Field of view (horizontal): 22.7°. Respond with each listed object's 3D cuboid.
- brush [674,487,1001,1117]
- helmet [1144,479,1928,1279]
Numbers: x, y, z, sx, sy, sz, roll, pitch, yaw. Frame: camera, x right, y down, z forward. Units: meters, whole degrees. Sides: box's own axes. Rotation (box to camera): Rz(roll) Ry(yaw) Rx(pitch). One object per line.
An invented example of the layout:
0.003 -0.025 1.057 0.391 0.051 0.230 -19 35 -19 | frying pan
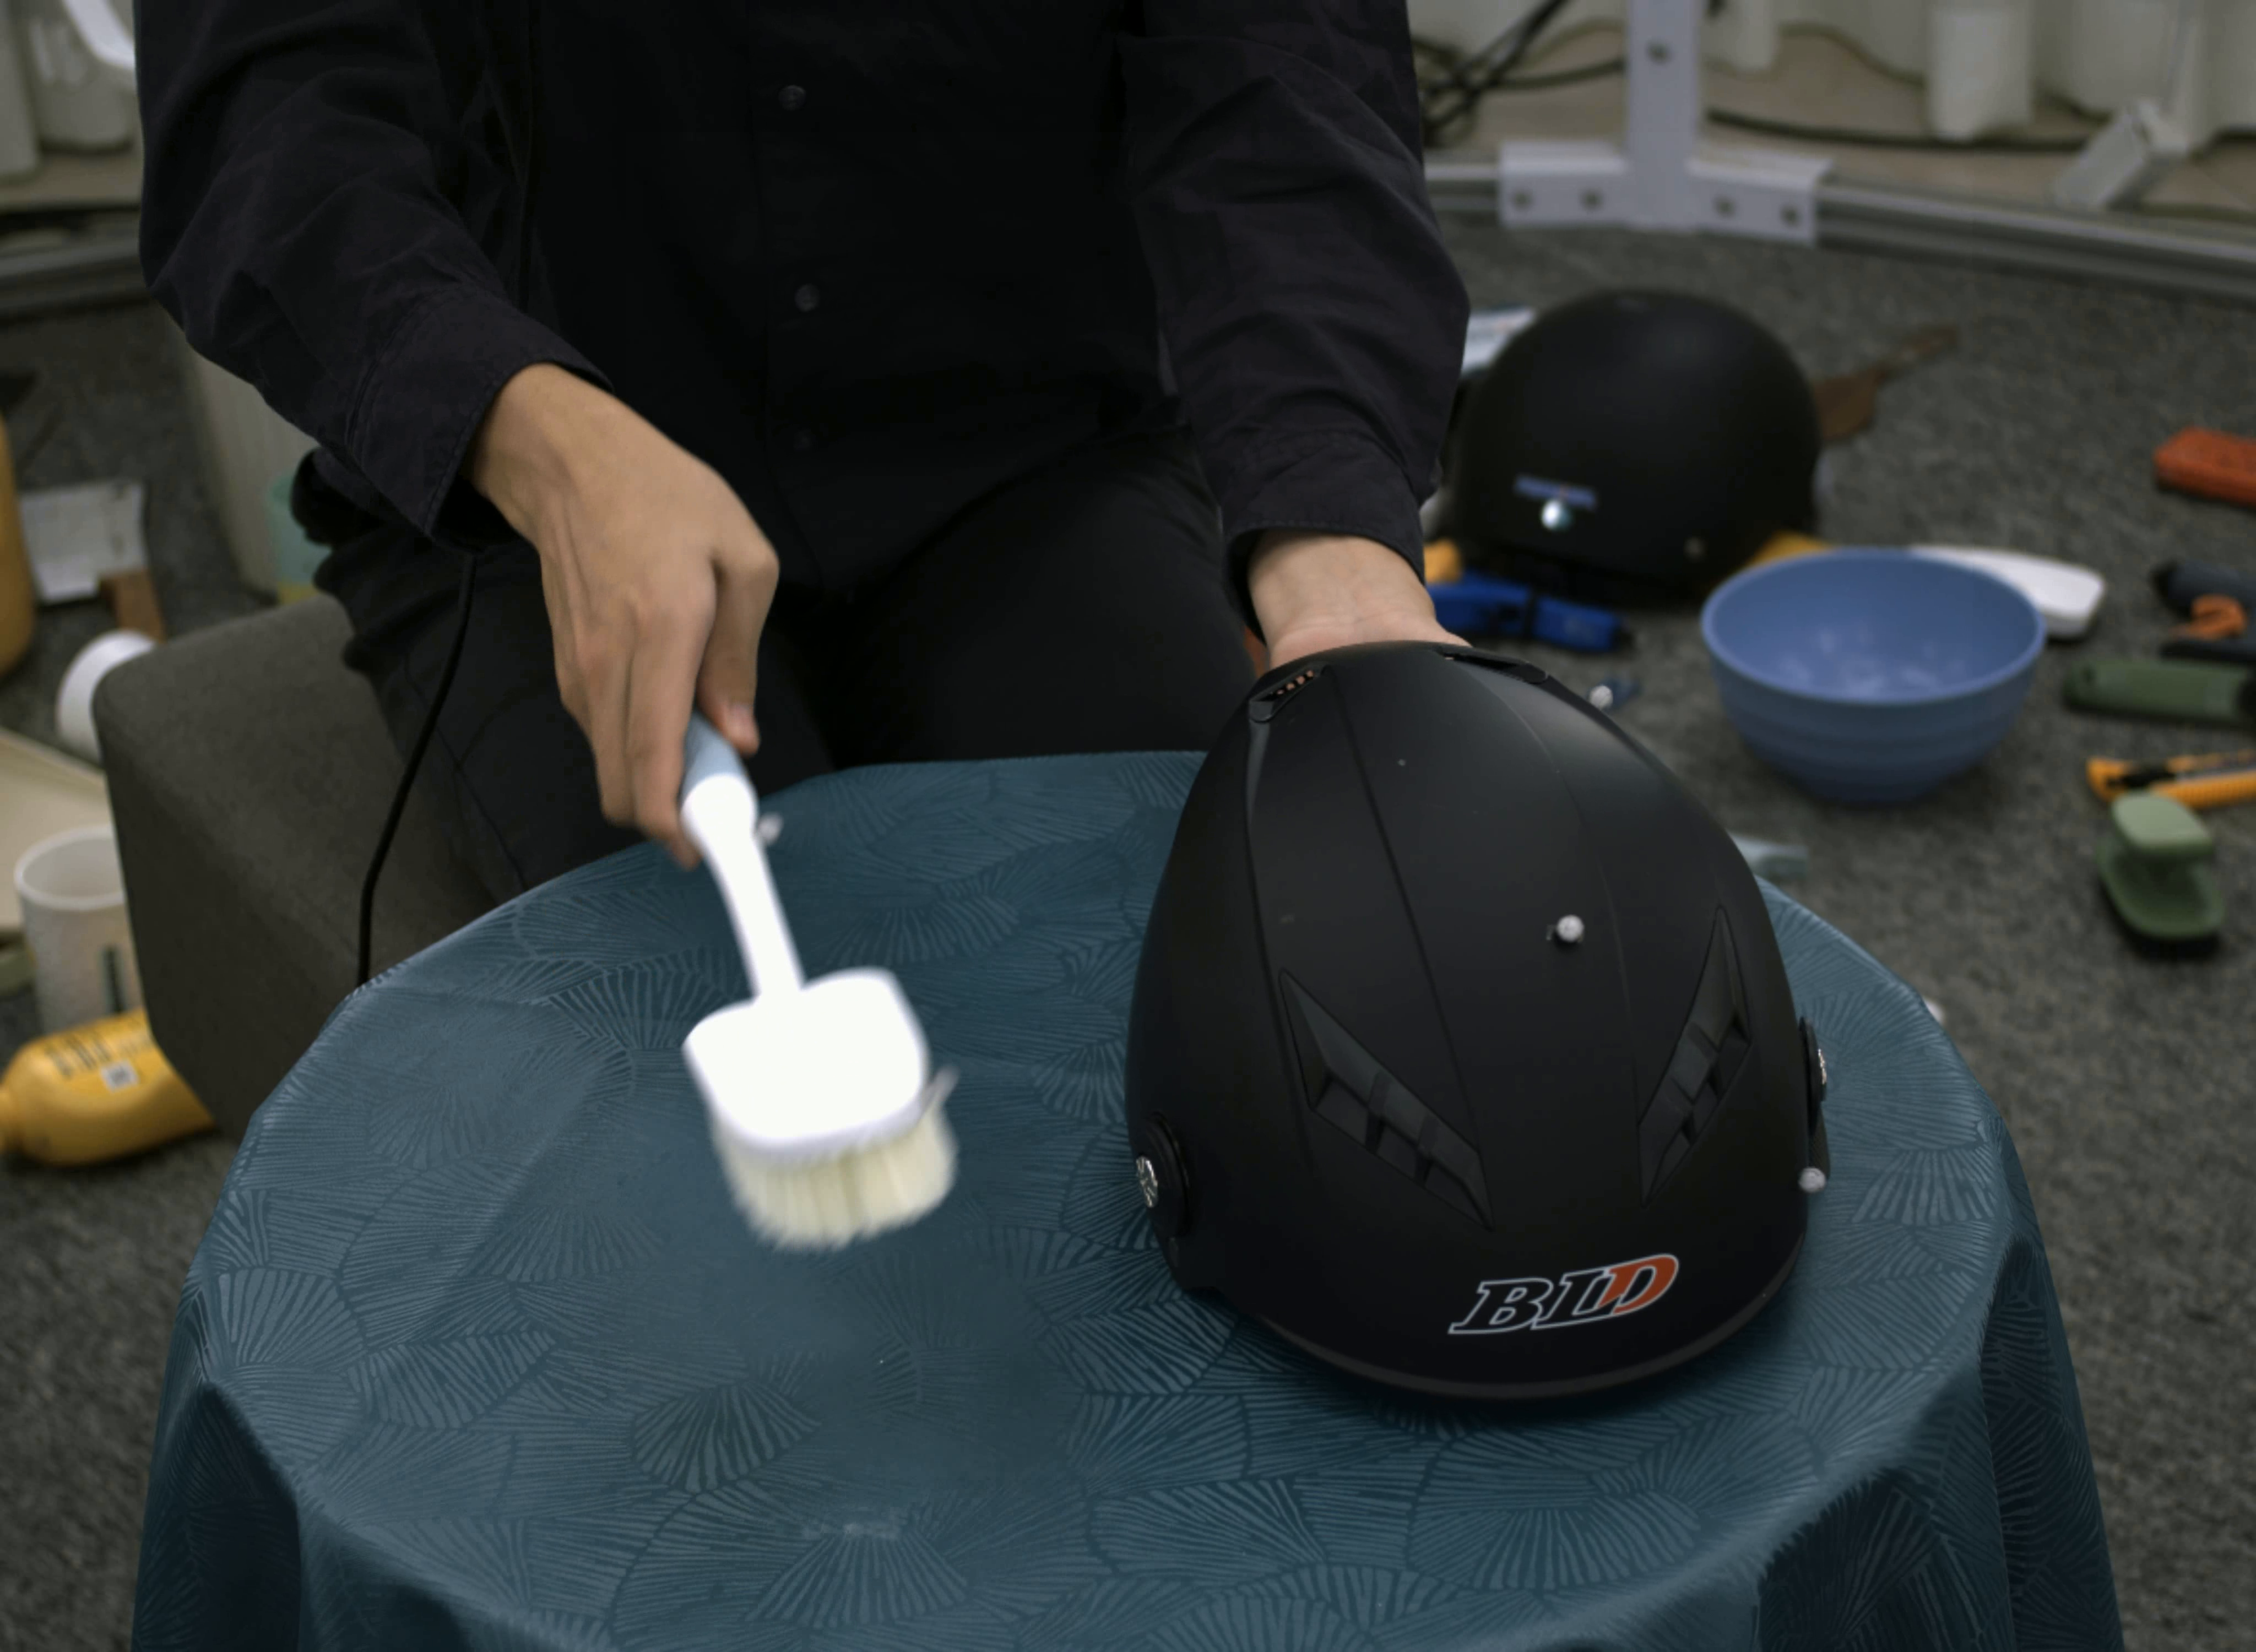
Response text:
-0.097 0.001 1.824 0.083 0.083 0.329 17 25 -25 | brush
0.129 0.008 1.828 0.246 0.170 0.281 -8 36 -8 | helmet
